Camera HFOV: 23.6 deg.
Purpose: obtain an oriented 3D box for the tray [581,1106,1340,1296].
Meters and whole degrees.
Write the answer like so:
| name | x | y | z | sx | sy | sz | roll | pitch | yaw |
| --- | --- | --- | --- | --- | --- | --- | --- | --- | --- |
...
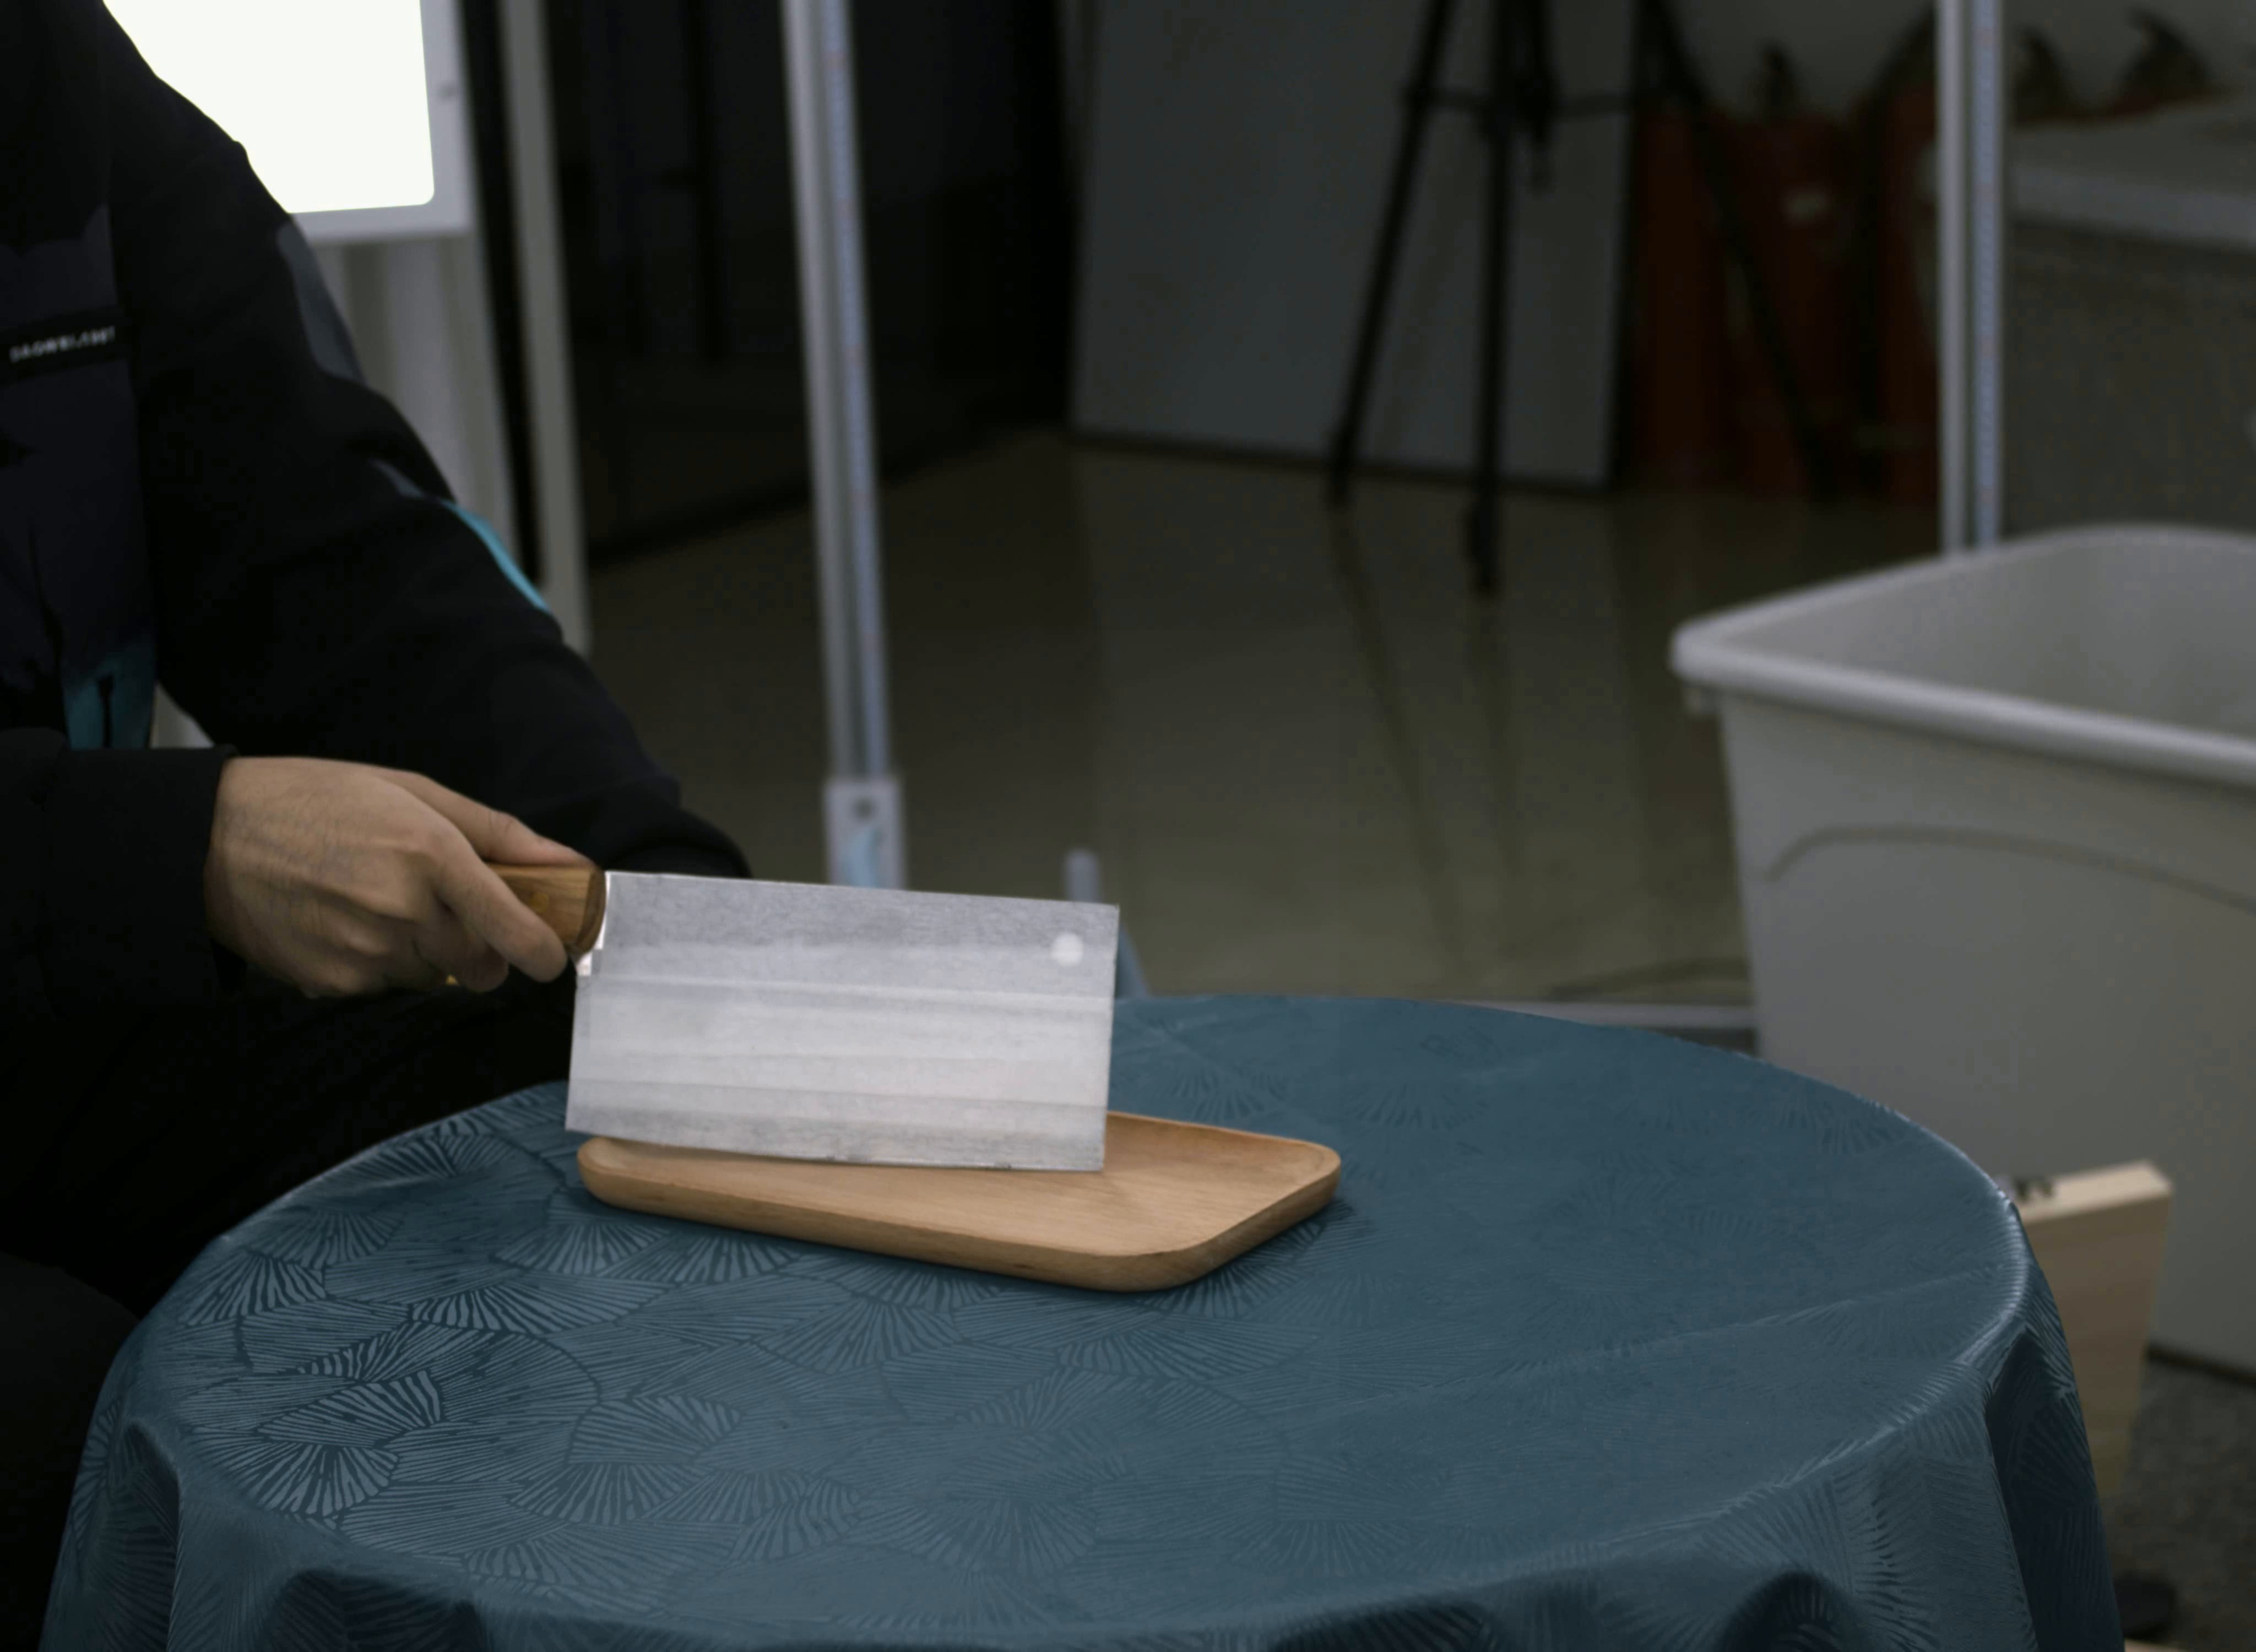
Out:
| name | x | y | z | sx | sy | sz | roll | pitch | yaw |
| --- | --- | --- | --- | --- | --- | --- | --- | --- | --- |
| tray | -0.056 | 0.116 | 1.775 | 0.252 | 0.023 | 0.128 | 5 | 14 | 37 |

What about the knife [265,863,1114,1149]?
| name | x | y | z | sx | sy | sz | roll | pitch | yaw |
| --- | --- | --- | --- | --- | --- | --- | --- | --- | --- |
| knife | -0.150 | 0.061 | 1.809 | 0.305 | 0.094 | 0.021 | 3 | -1 | 17 |
